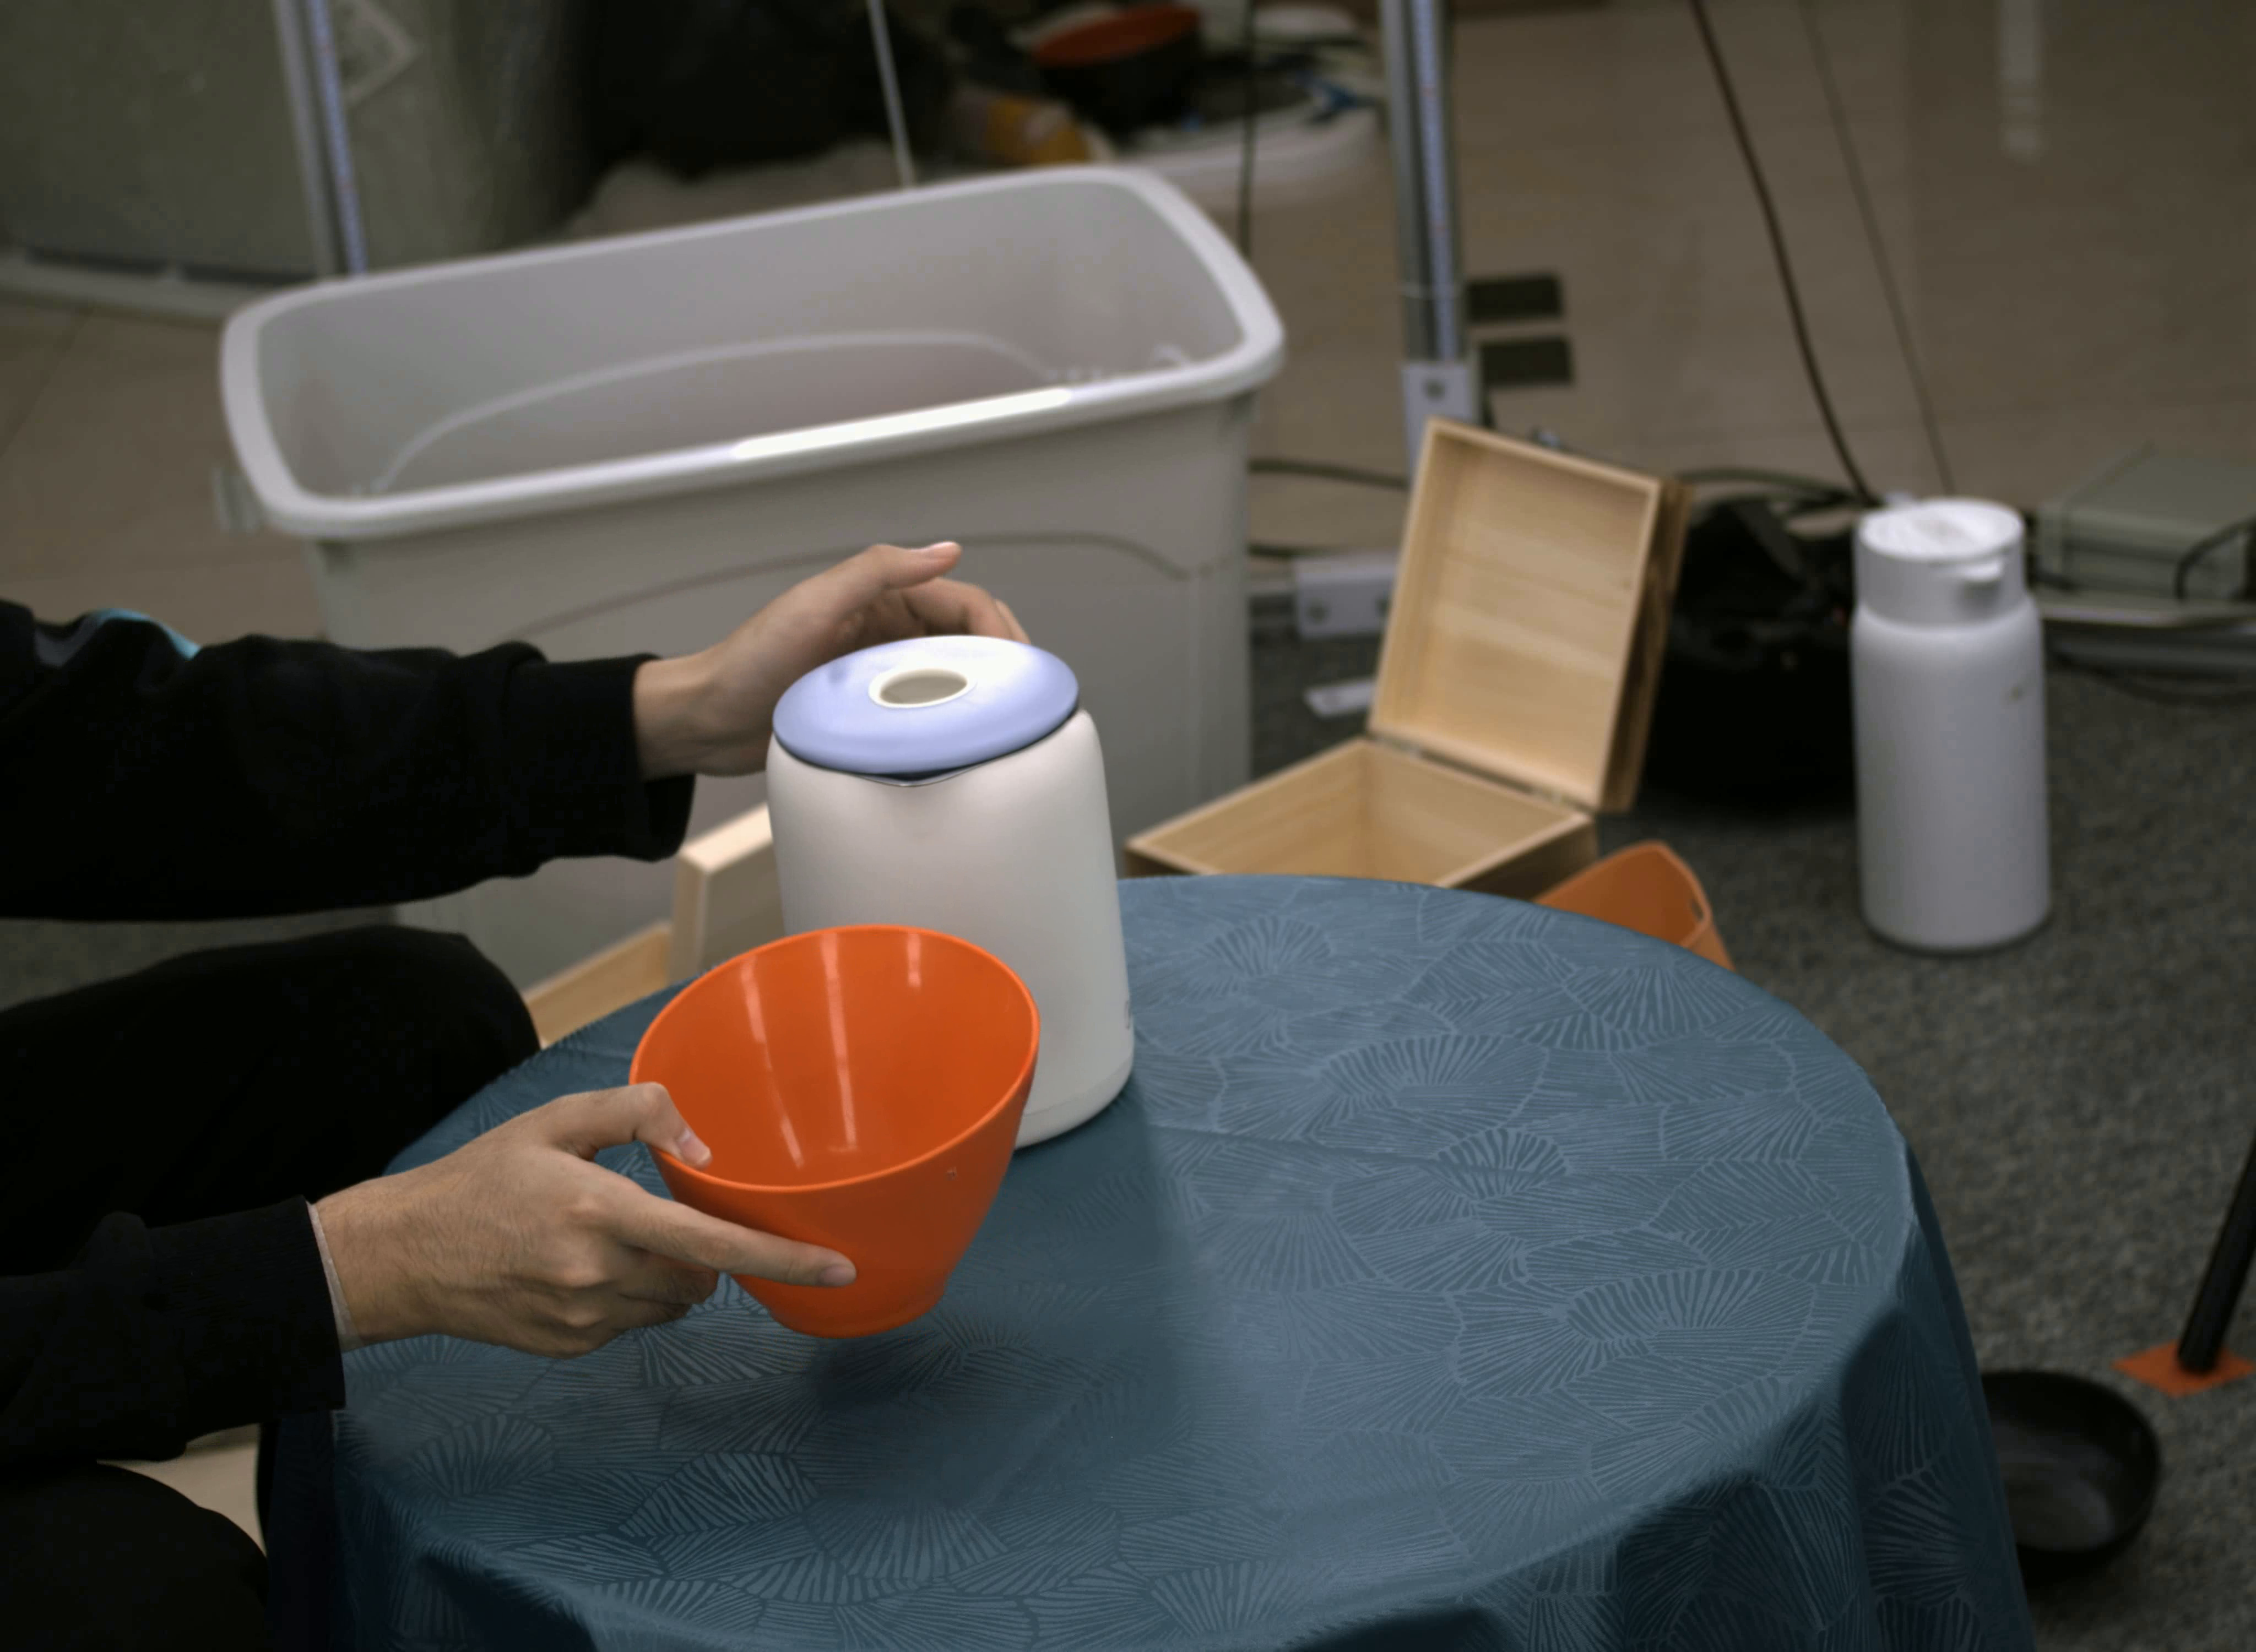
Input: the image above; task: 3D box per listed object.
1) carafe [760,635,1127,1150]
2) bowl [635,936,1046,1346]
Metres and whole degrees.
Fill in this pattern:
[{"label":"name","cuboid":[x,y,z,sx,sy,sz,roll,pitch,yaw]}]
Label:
[{"label":"carafe","cuboid":[-0.071,0.017,2.217,0.132,0.185,0.188,-4,23,2]},{"label":"bowl","cuboid":[-0.099,0.119,2.027,0.148,0.106,0.146,-4,27,2]}]
